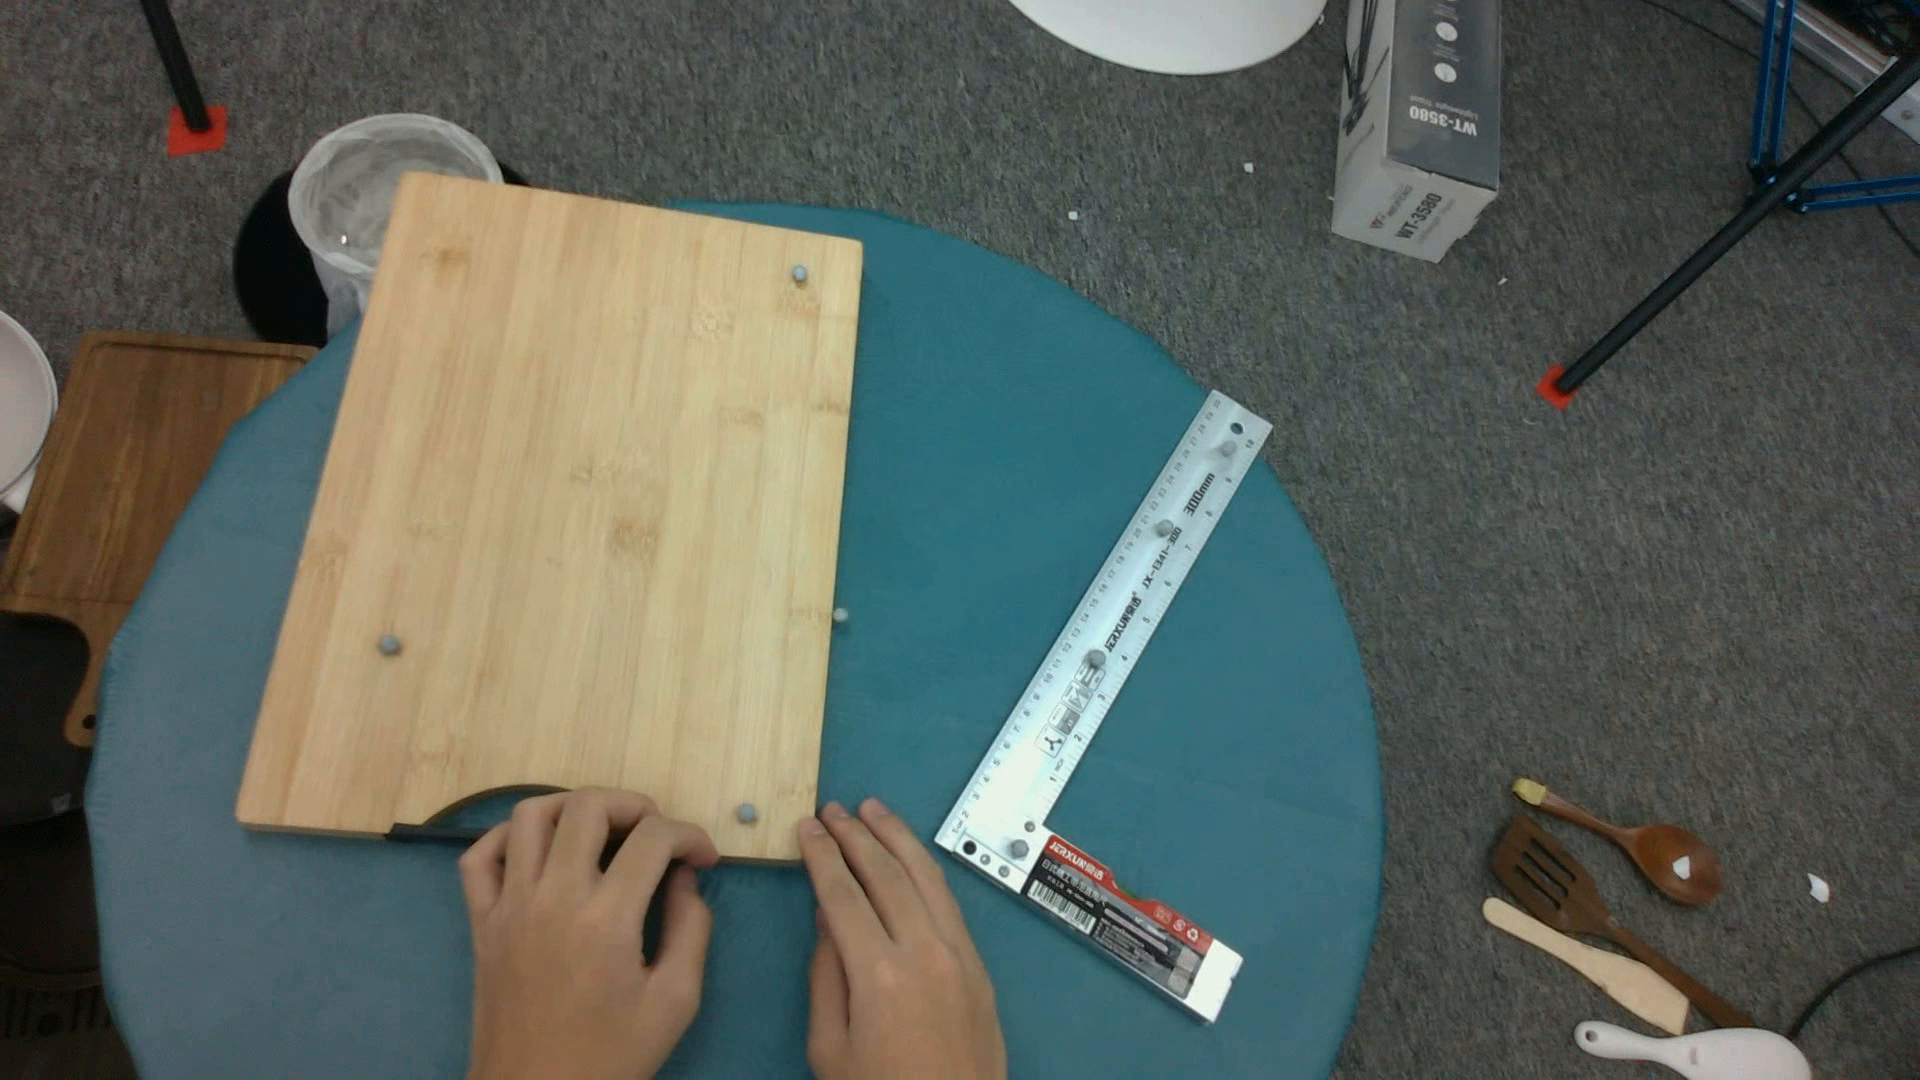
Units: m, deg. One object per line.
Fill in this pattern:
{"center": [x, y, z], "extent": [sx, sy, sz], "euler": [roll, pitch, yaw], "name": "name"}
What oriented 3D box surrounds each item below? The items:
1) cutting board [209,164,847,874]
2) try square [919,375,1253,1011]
{"center": [-0.188, -0.021, 0.668], "extent": [0.251, 0.023, 0.350], "euler": [5, 65, -10], "name": "cutting board"}
{"center": [0.119, 0.062, 0.706], "extent": [0.152, 0.016, 0.314], "euler": [33, 62, 2], "name": "try square"}
